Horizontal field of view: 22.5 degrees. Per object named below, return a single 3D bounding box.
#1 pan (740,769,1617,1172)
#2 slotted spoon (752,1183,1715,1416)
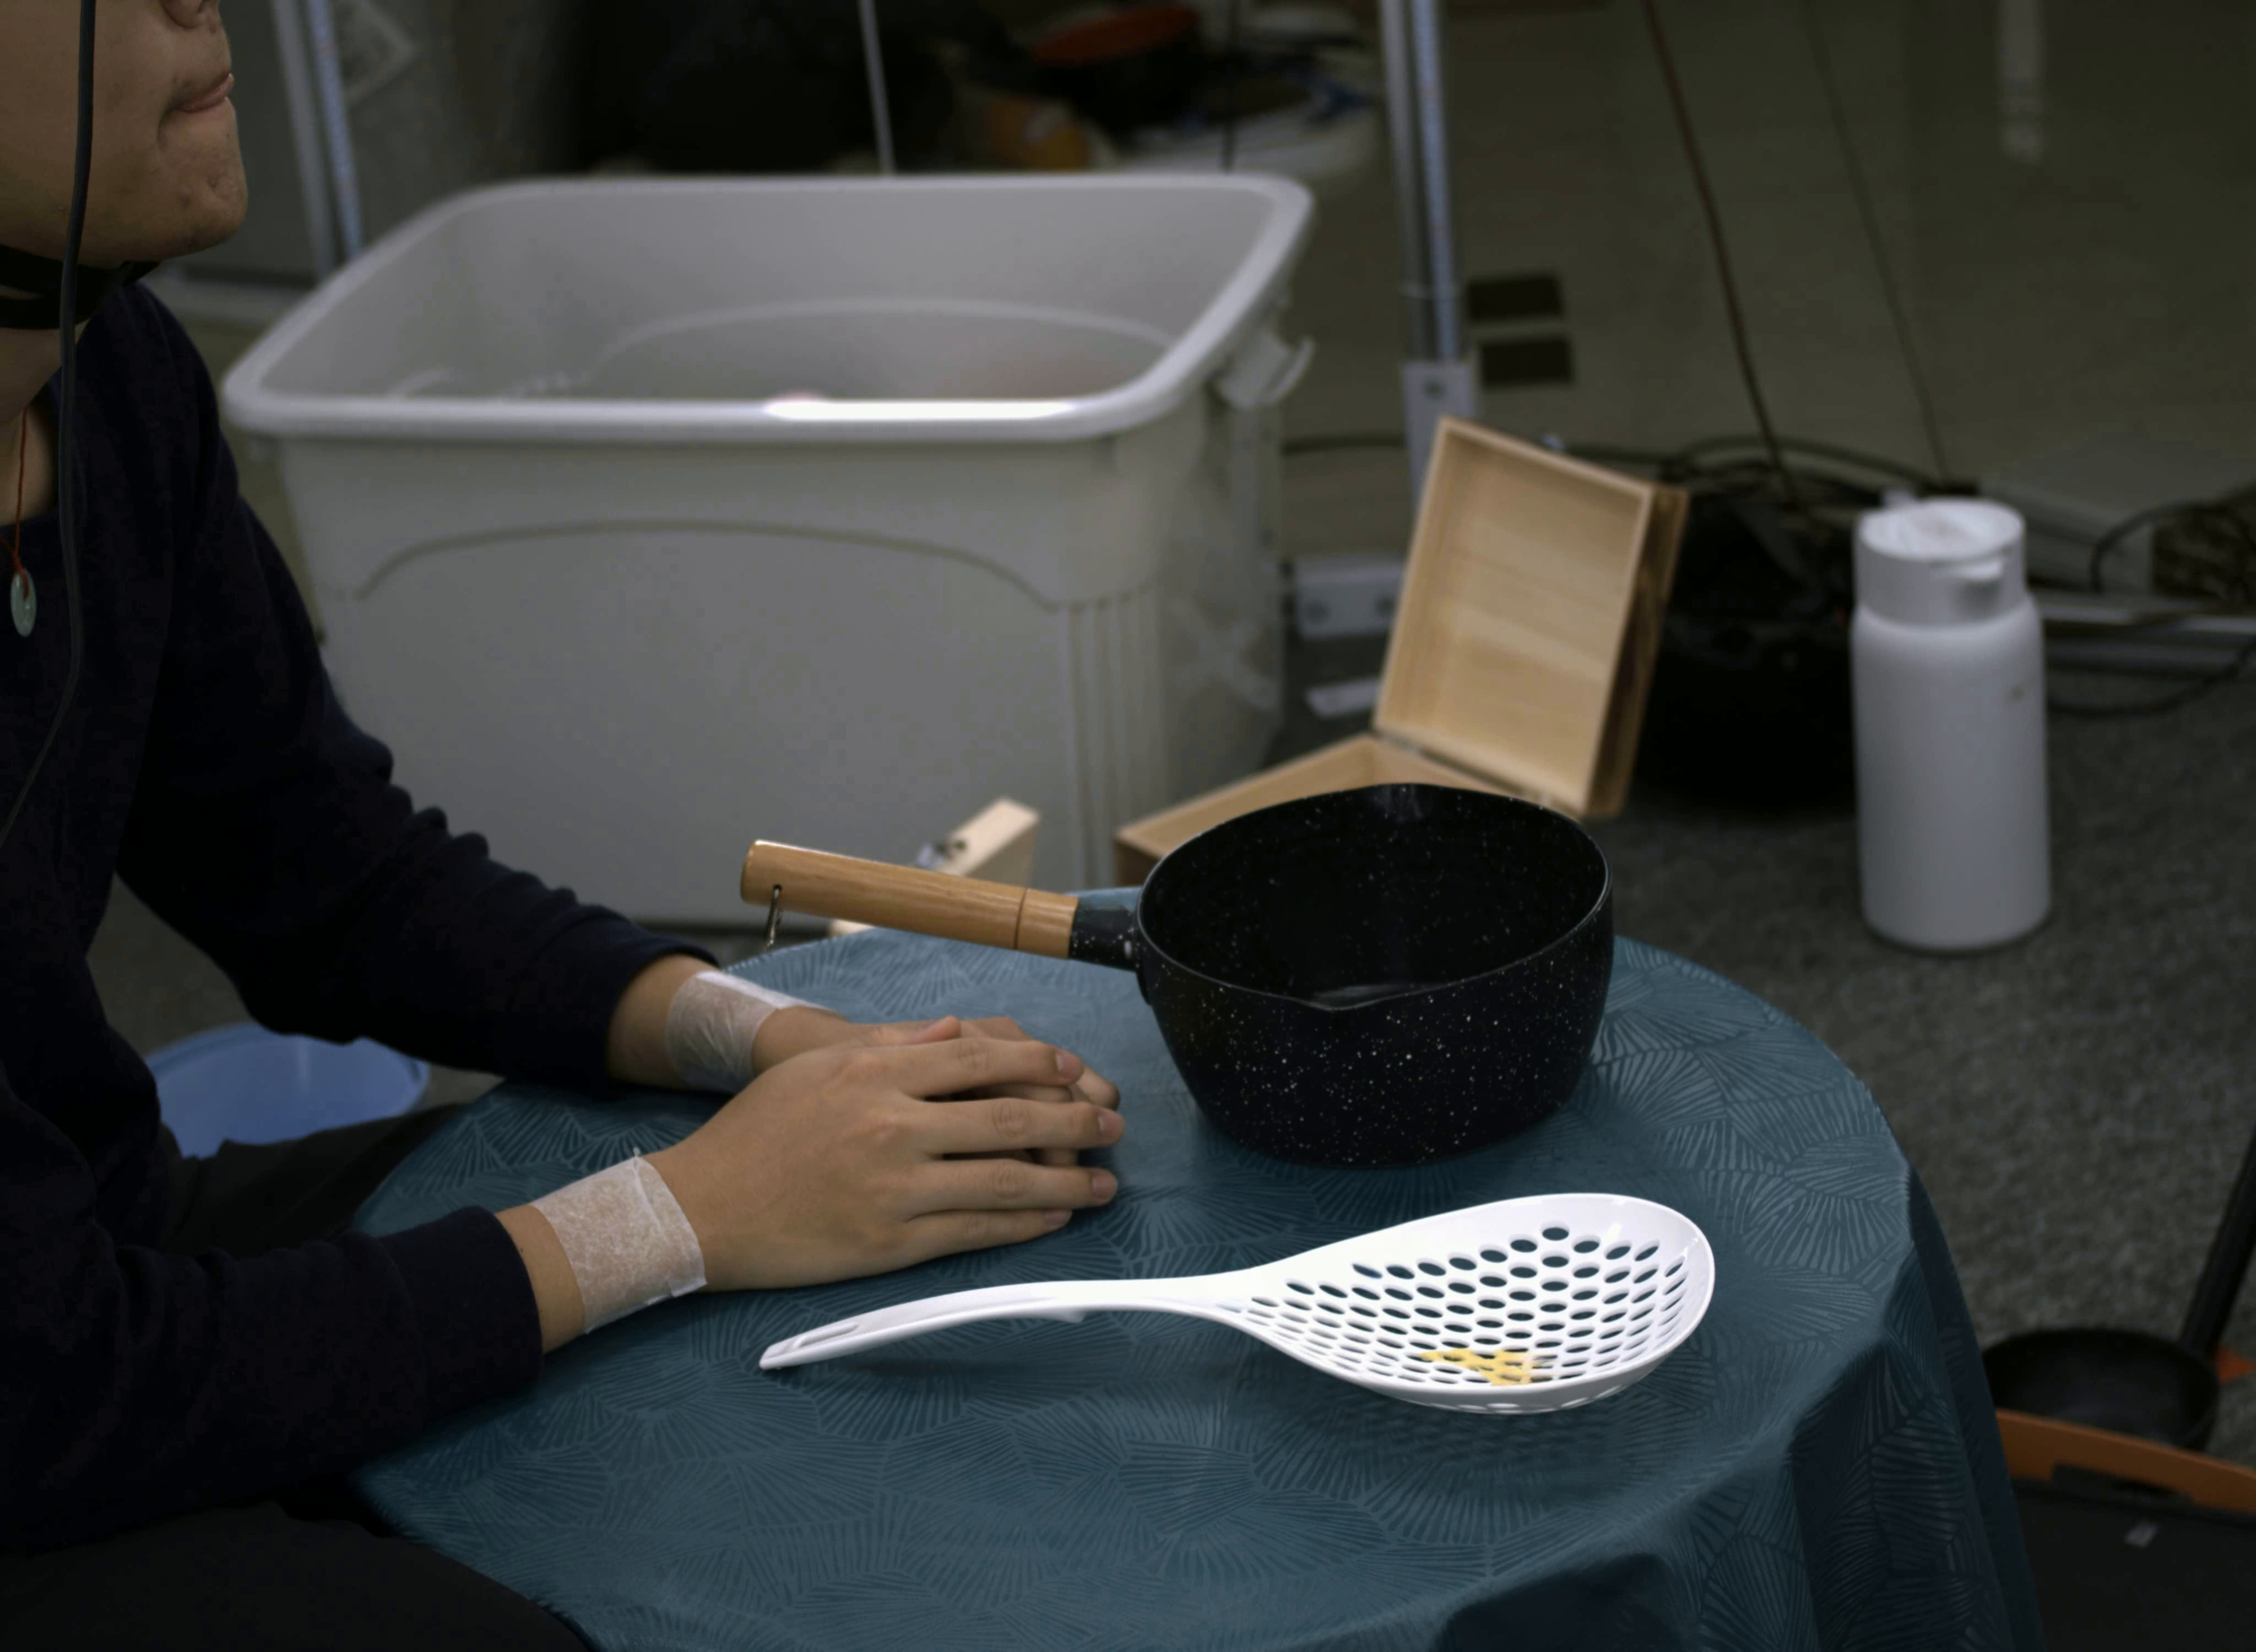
[{"bbox_3d":[0.019,0.053,2.197,0.342,0.110,0.204,-1,27,9],"label":"pan"},{"bbox_3d":[0.034,0.176,2.008,0.347,0.051,0.135,1,27,12],"label":"slotted spoon"}]
